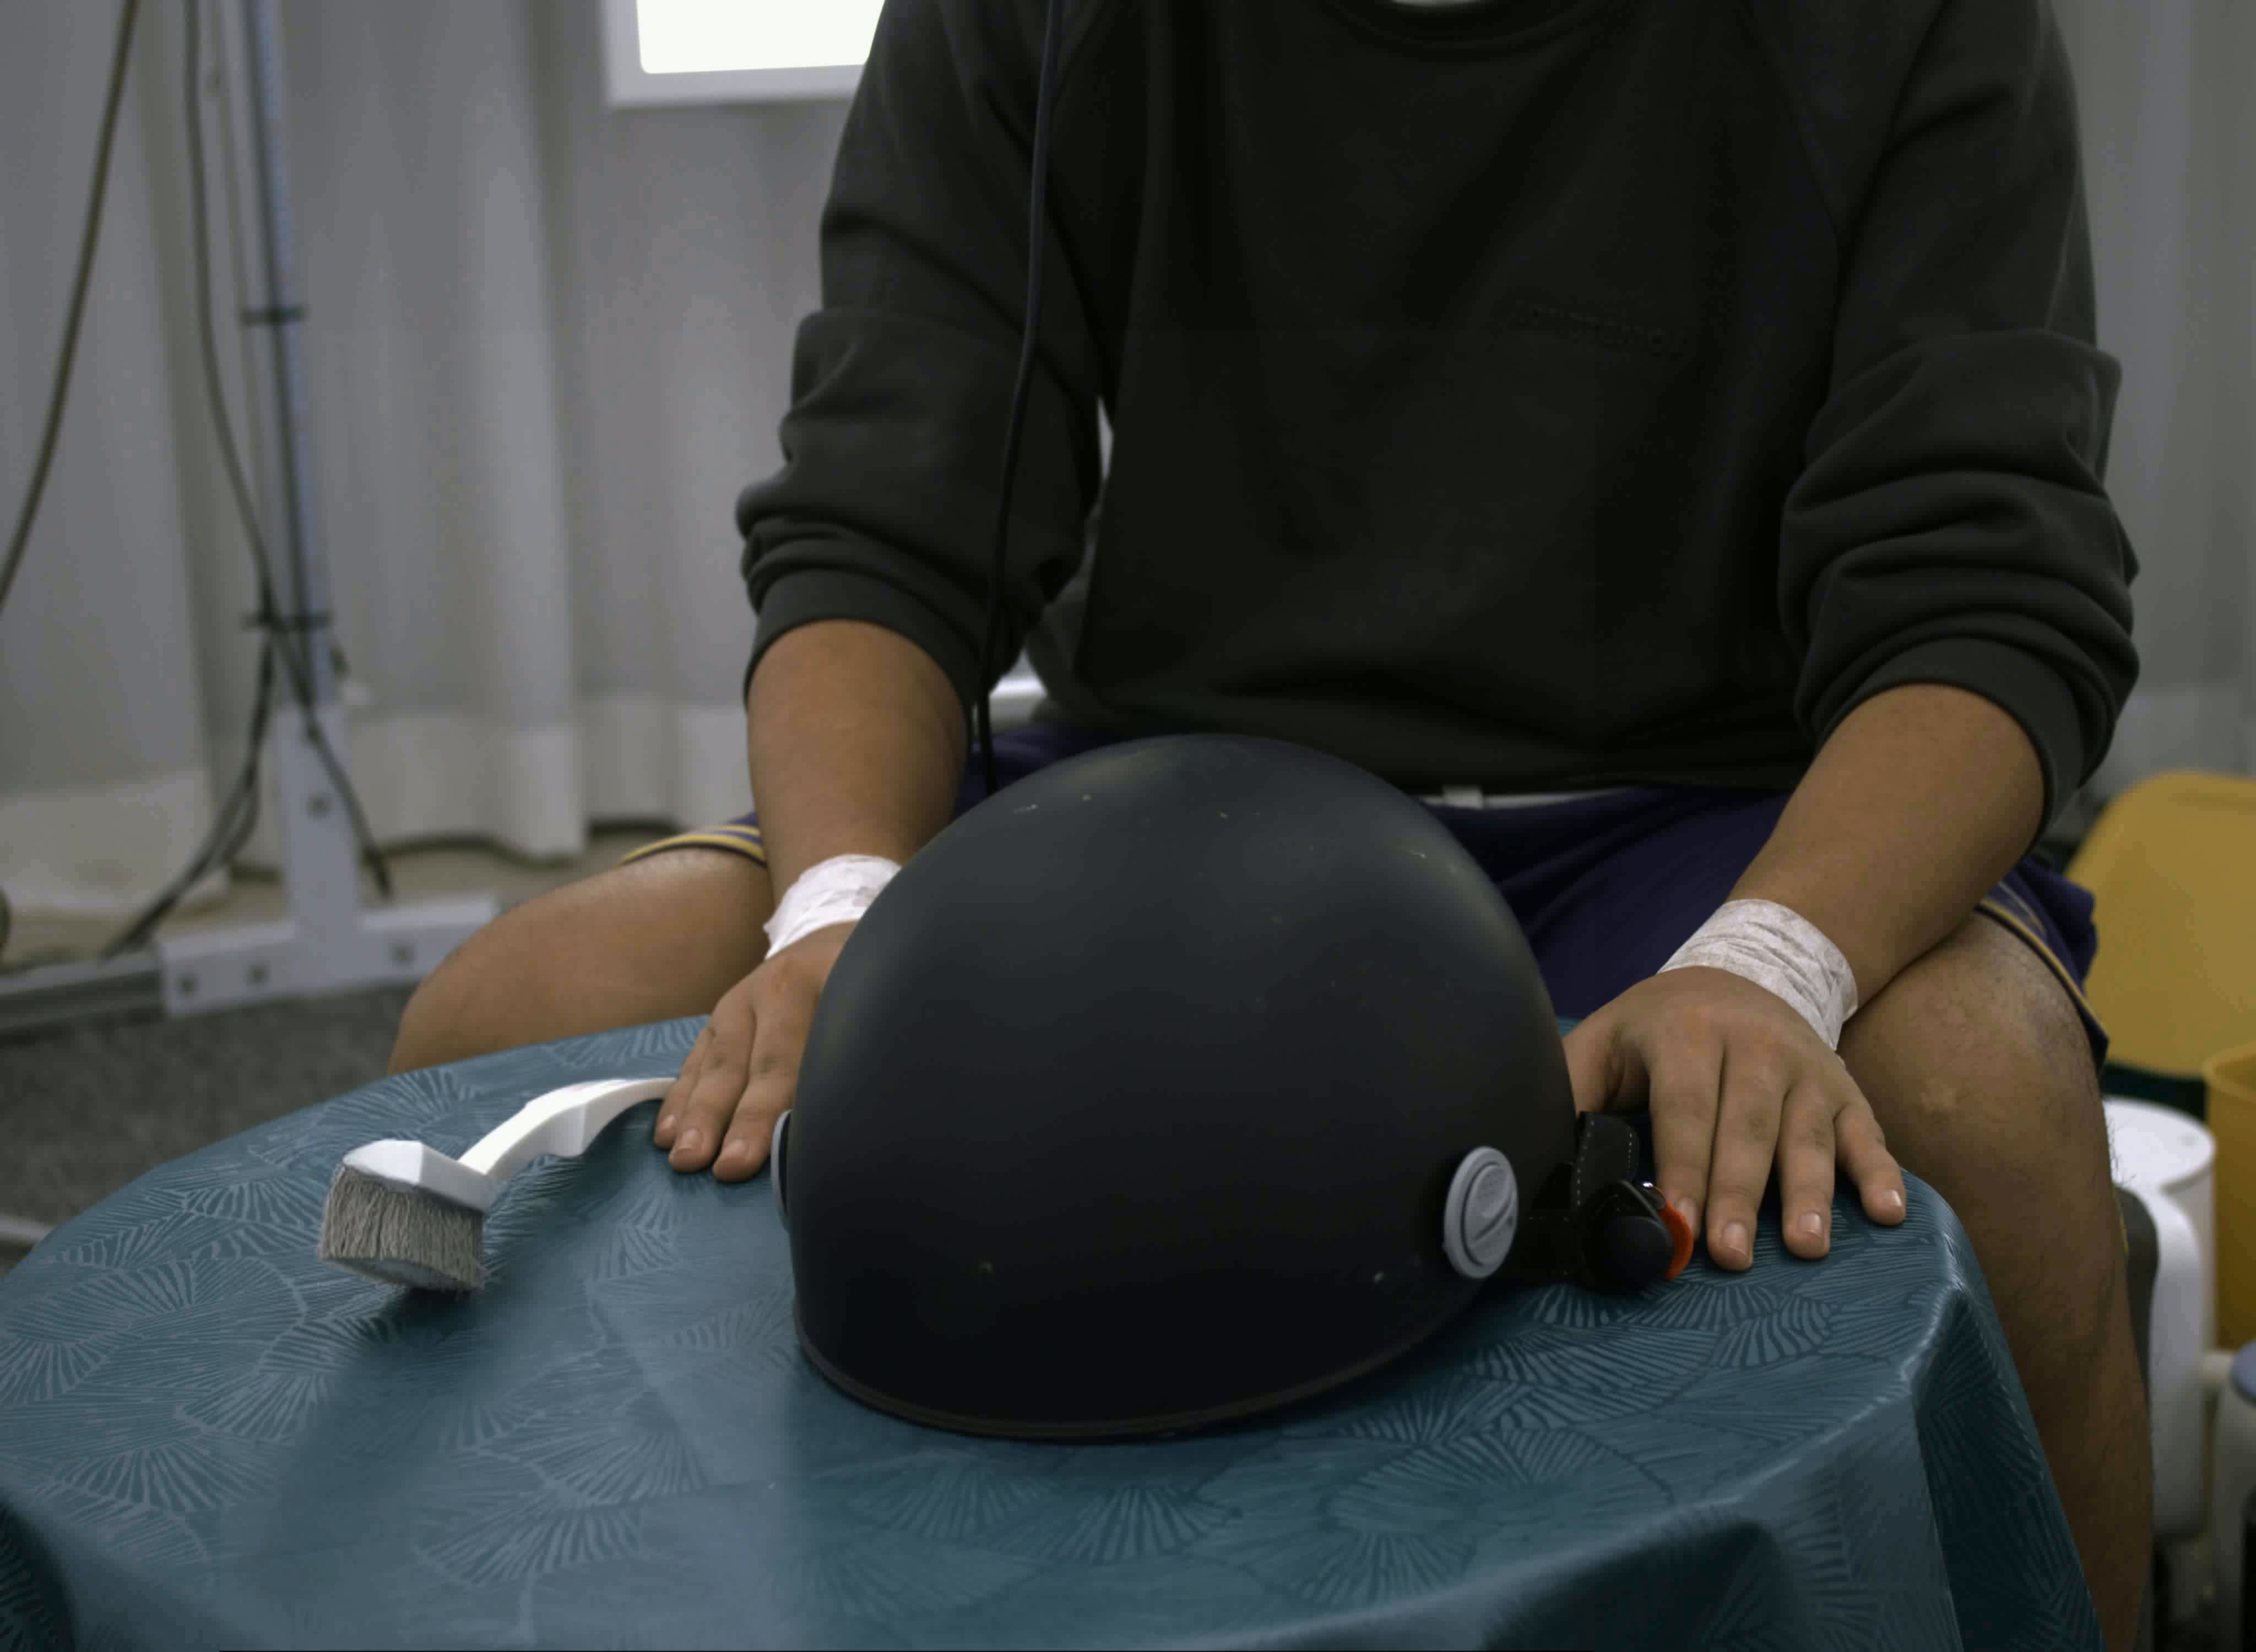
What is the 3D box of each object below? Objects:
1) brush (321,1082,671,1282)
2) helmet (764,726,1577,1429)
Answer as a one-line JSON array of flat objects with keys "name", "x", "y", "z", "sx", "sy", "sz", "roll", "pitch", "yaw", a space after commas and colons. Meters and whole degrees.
[{"name": "brush", "x": -0.193, "y": 0.112, "z": 1.721, "sx": 0.034, "sy": 0.050, "sz": 0.243, "roll": -3, "pitch": 1, "yaw": 15}, {"name": "helmet", "x": 0.010, "y": 0.061, "z": 1.613, "sx": 0.230, "sy": 0.166, "sz": 0.274, "roll": 1, "pitch": 17, "yaw": 26}]
